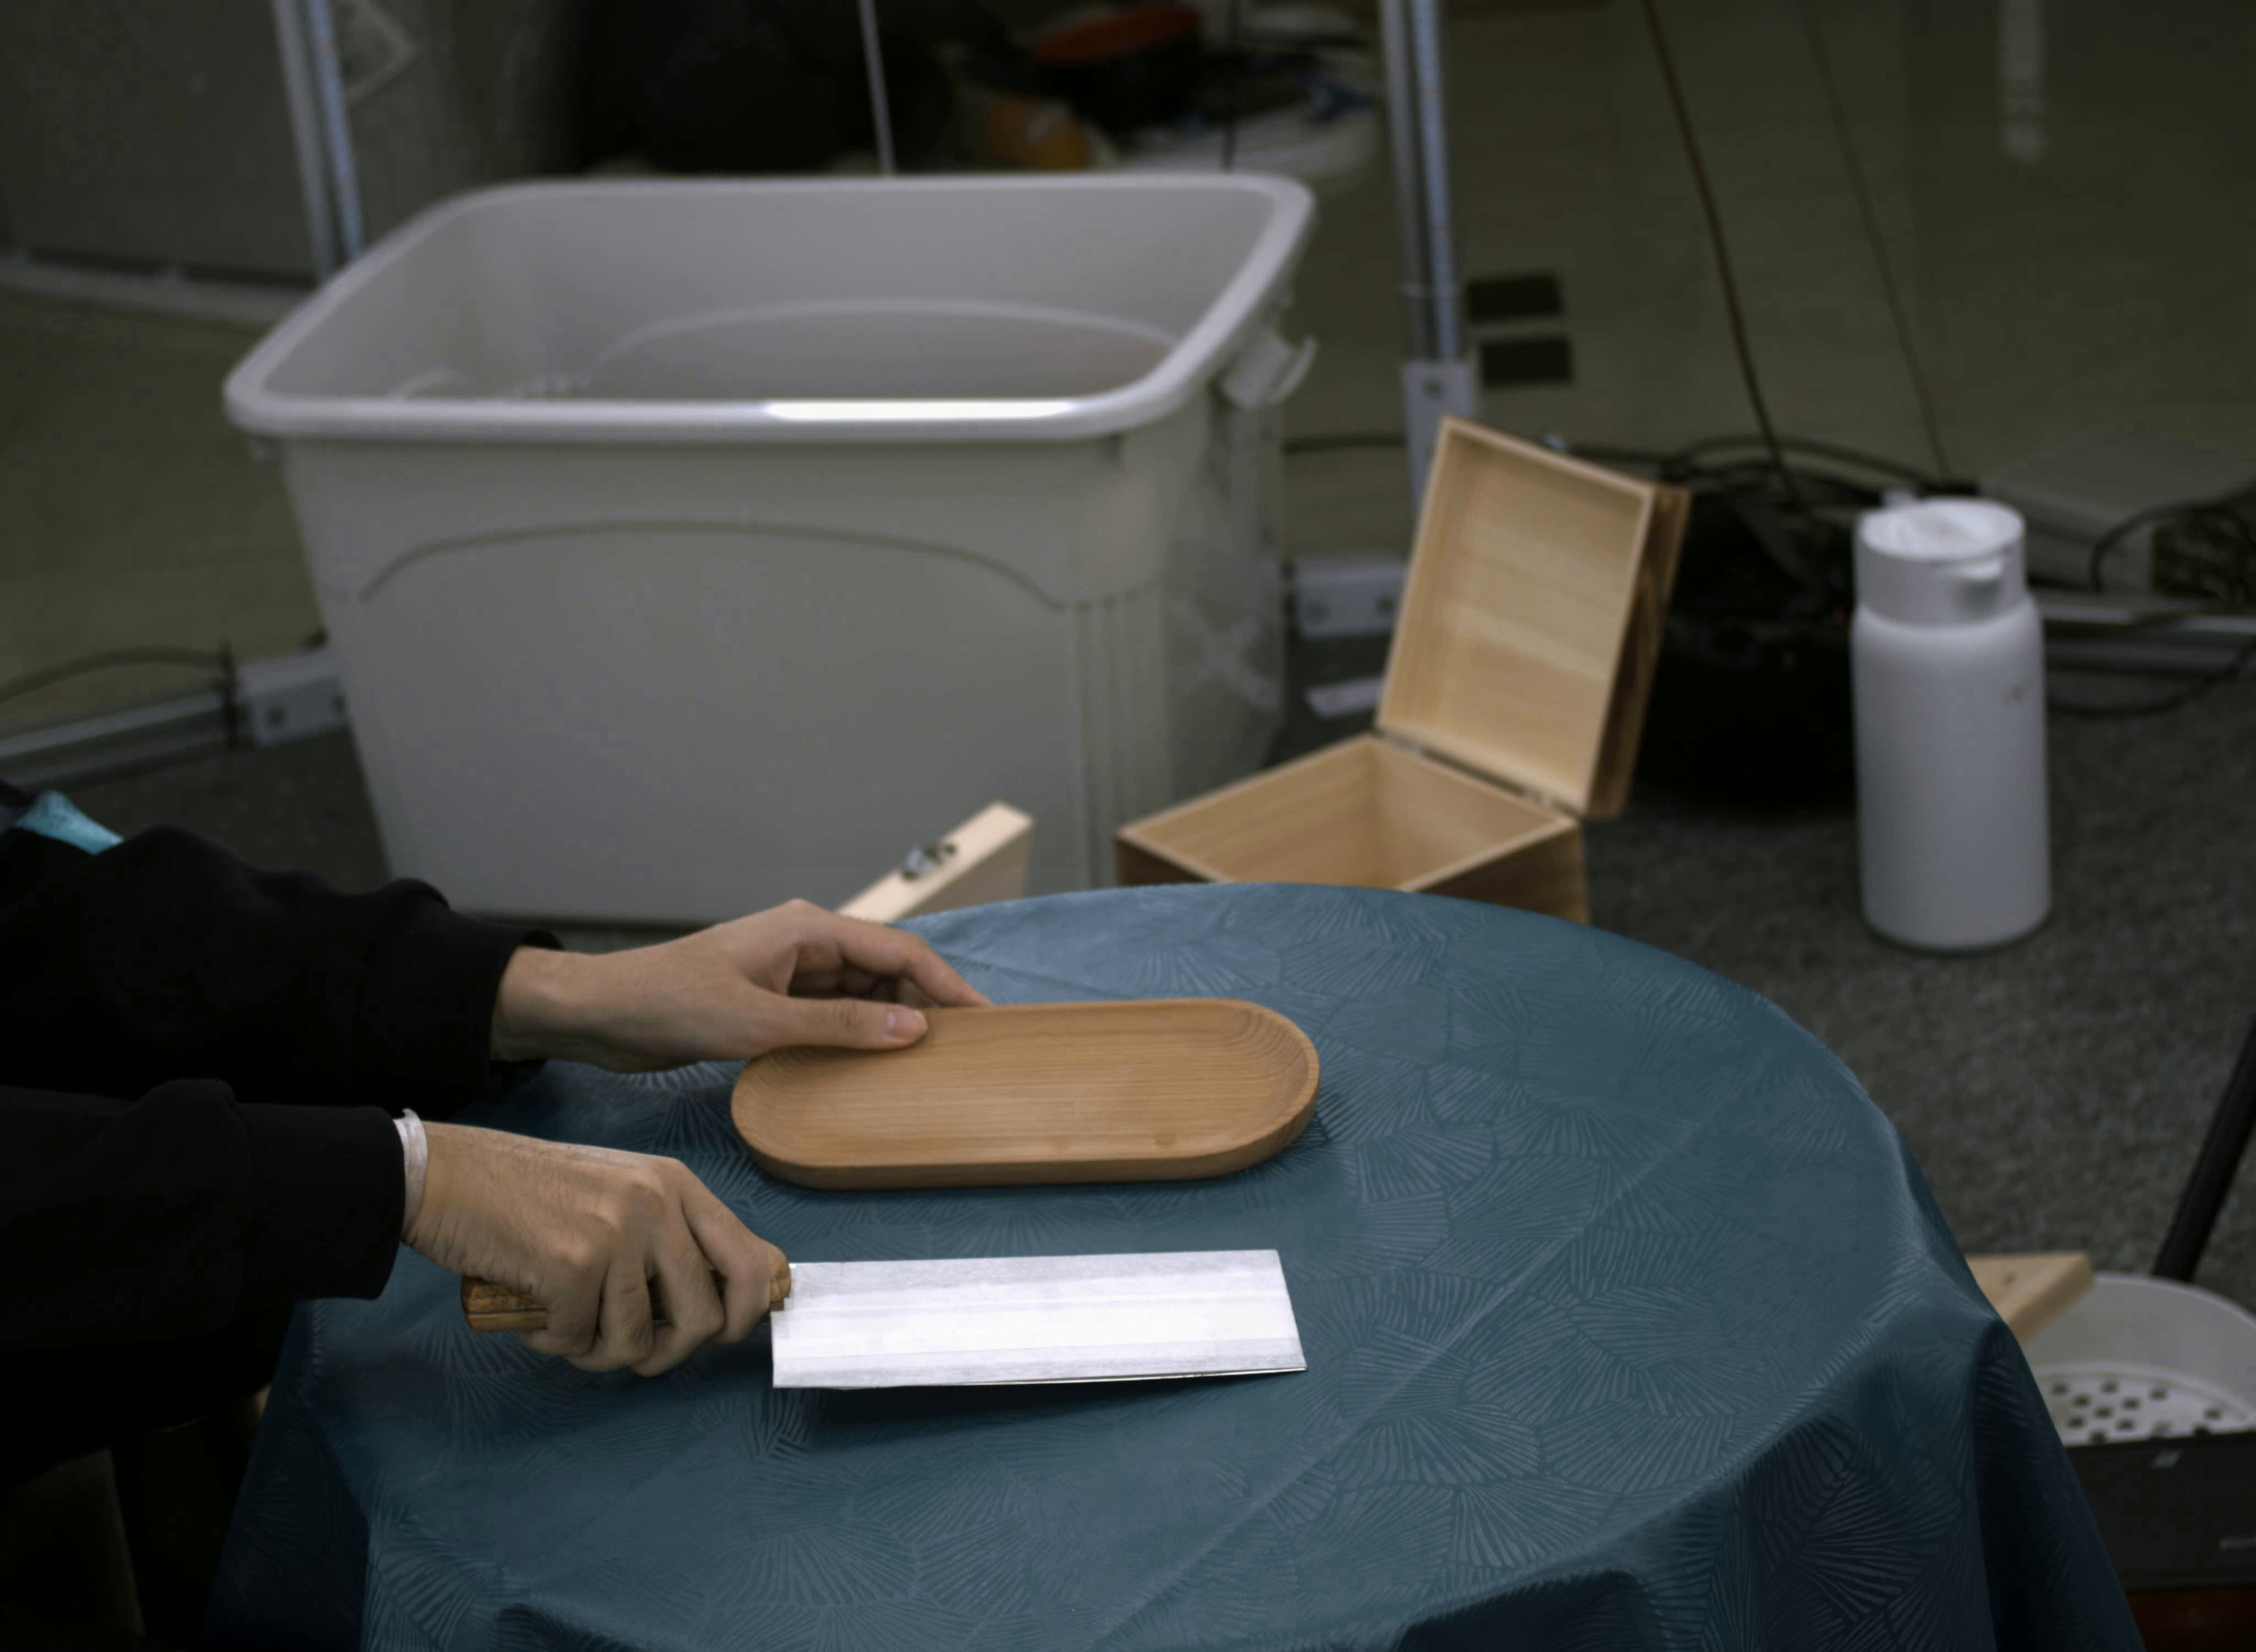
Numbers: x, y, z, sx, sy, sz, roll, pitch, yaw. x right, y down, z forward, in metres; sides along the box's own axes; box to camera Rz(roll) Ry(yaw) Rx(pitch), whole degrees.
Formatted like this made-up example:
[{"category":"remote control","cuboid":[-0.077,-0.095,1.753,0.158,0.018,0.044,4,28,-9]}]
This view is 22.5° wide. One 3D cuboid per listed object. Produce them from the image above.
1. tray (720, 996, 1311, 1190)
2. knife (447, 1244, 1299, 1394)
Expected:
[{"category":"tray","cuboid":[-0.044,0.104,2.194,0.231,0.021,0.100,-3,36,10]},{"category":"knife","cuboid":[-0.092,0.178,2.041,0.305,0.021,0.091,-1,25,-5]}]
